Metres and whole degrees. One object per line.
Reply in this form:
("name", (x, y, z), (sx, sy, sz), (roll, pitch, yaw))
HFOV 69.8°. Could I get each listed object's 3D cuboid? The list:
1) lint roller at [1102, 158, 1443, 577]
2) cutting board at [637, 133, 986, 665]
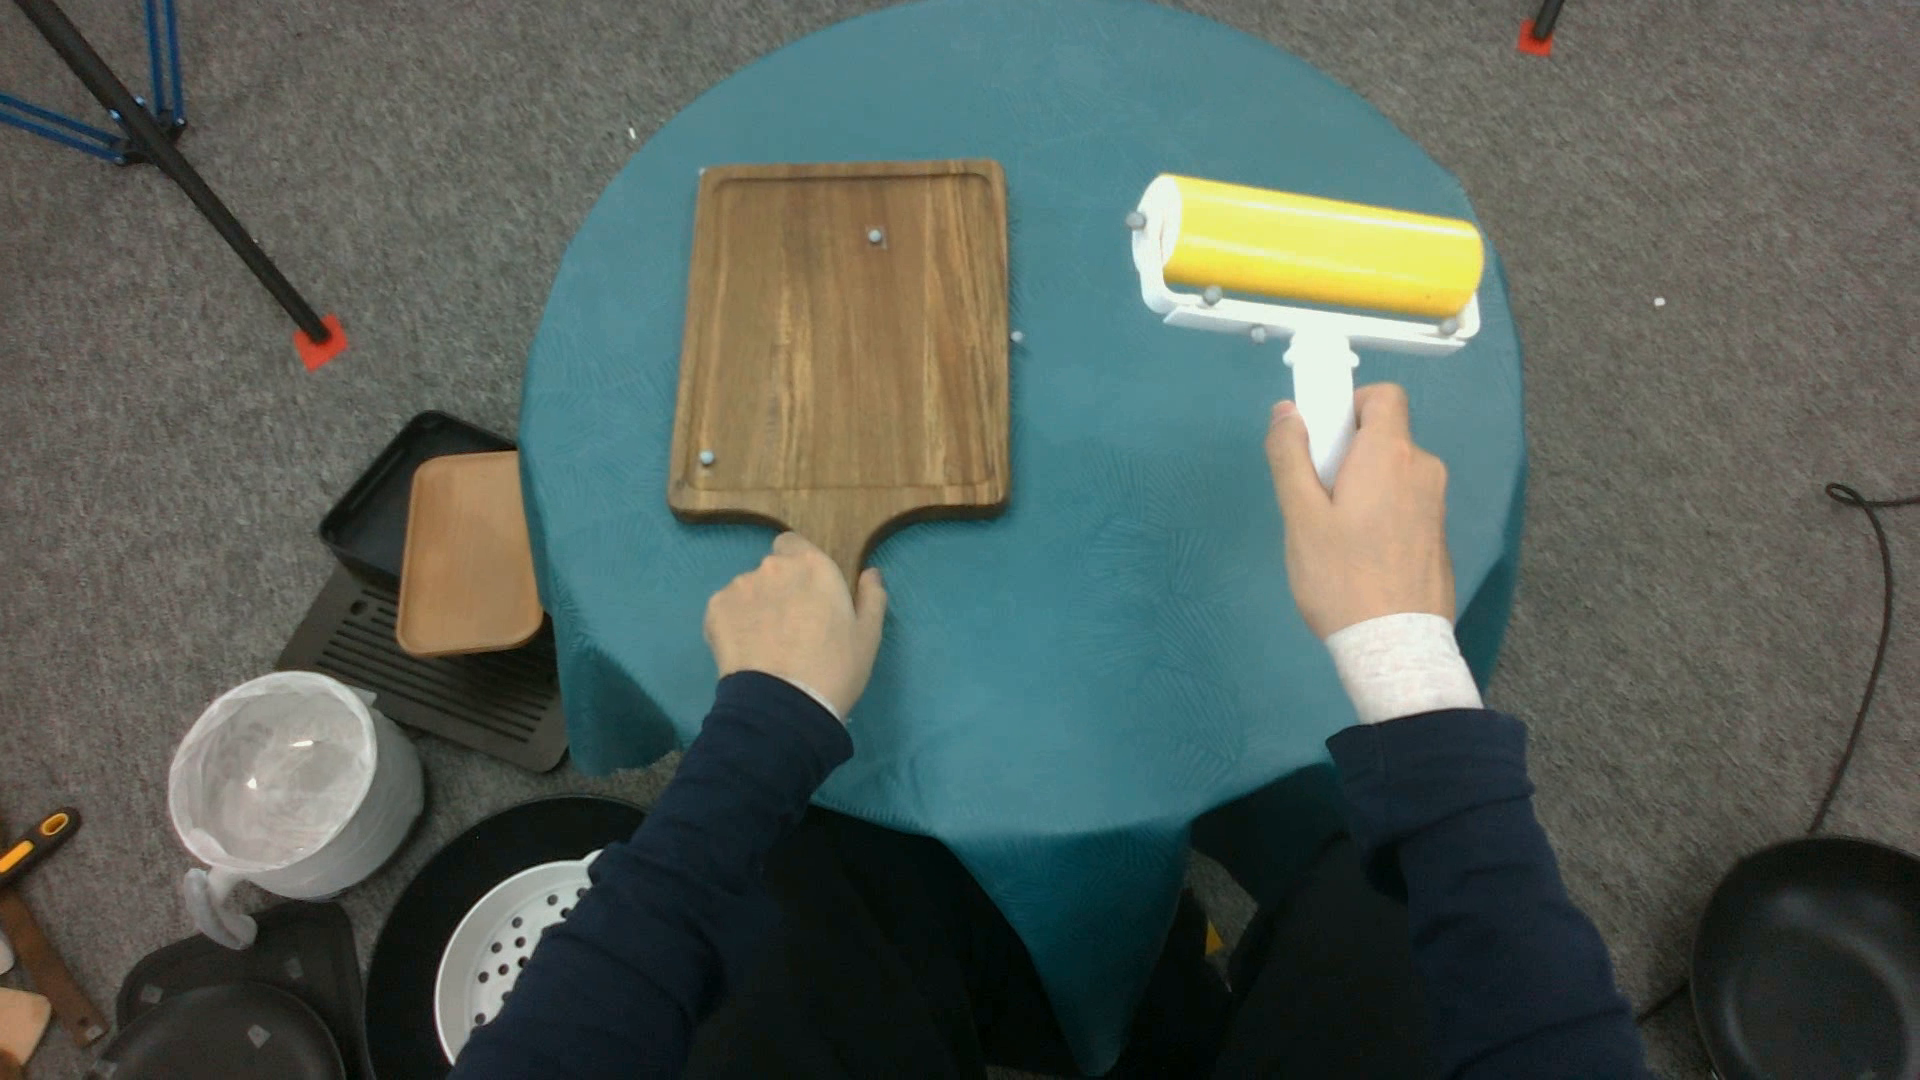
("lint roller", (0.159, -0.080, 0.623), (0.174, 0.051, 0.192), (3, 62, -23))
("cutting board", (-0.087, -0.095, 0.809), (0.201, 0.023, 0.353), (-2, 64, 1))
